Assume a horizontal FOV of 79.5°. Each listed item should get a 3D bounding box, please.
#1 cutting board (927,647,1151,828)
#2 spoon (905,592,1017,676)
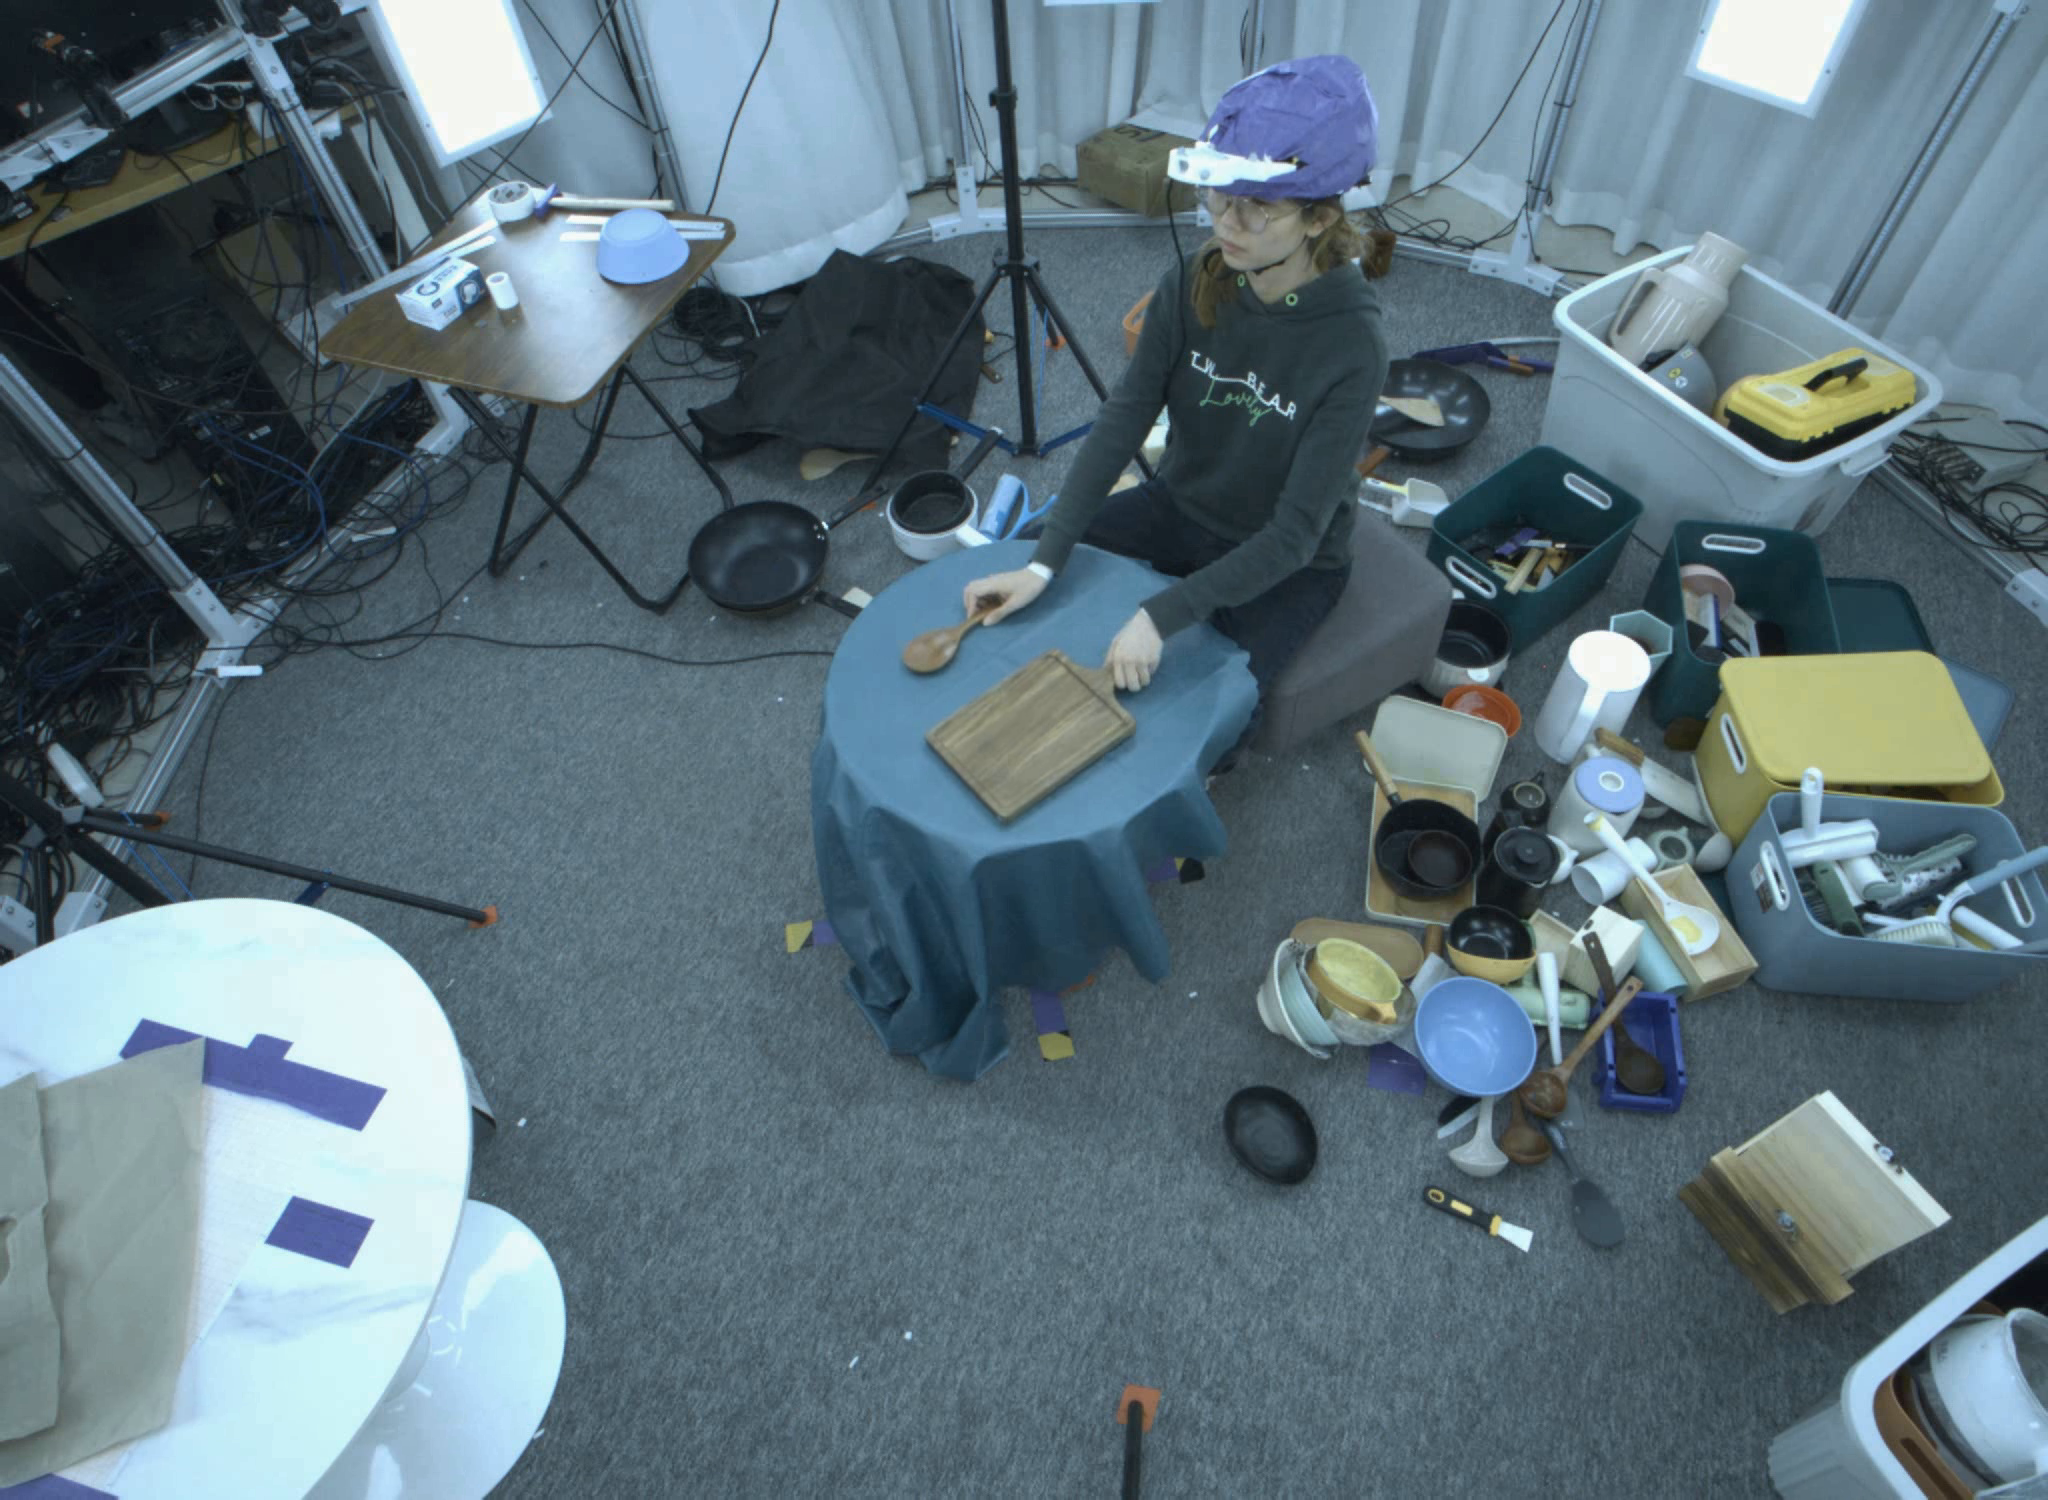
[{"bbox_3d":[0.051,-0.048,1.810,0.354,0.023,0.197,-35,60,-18],"label":"cutting board"},{"bbox_3d":[-0.095,-0.182,1.917,0.217,0.017,0.074,-39,60,-22],"label":"spoon"}]
